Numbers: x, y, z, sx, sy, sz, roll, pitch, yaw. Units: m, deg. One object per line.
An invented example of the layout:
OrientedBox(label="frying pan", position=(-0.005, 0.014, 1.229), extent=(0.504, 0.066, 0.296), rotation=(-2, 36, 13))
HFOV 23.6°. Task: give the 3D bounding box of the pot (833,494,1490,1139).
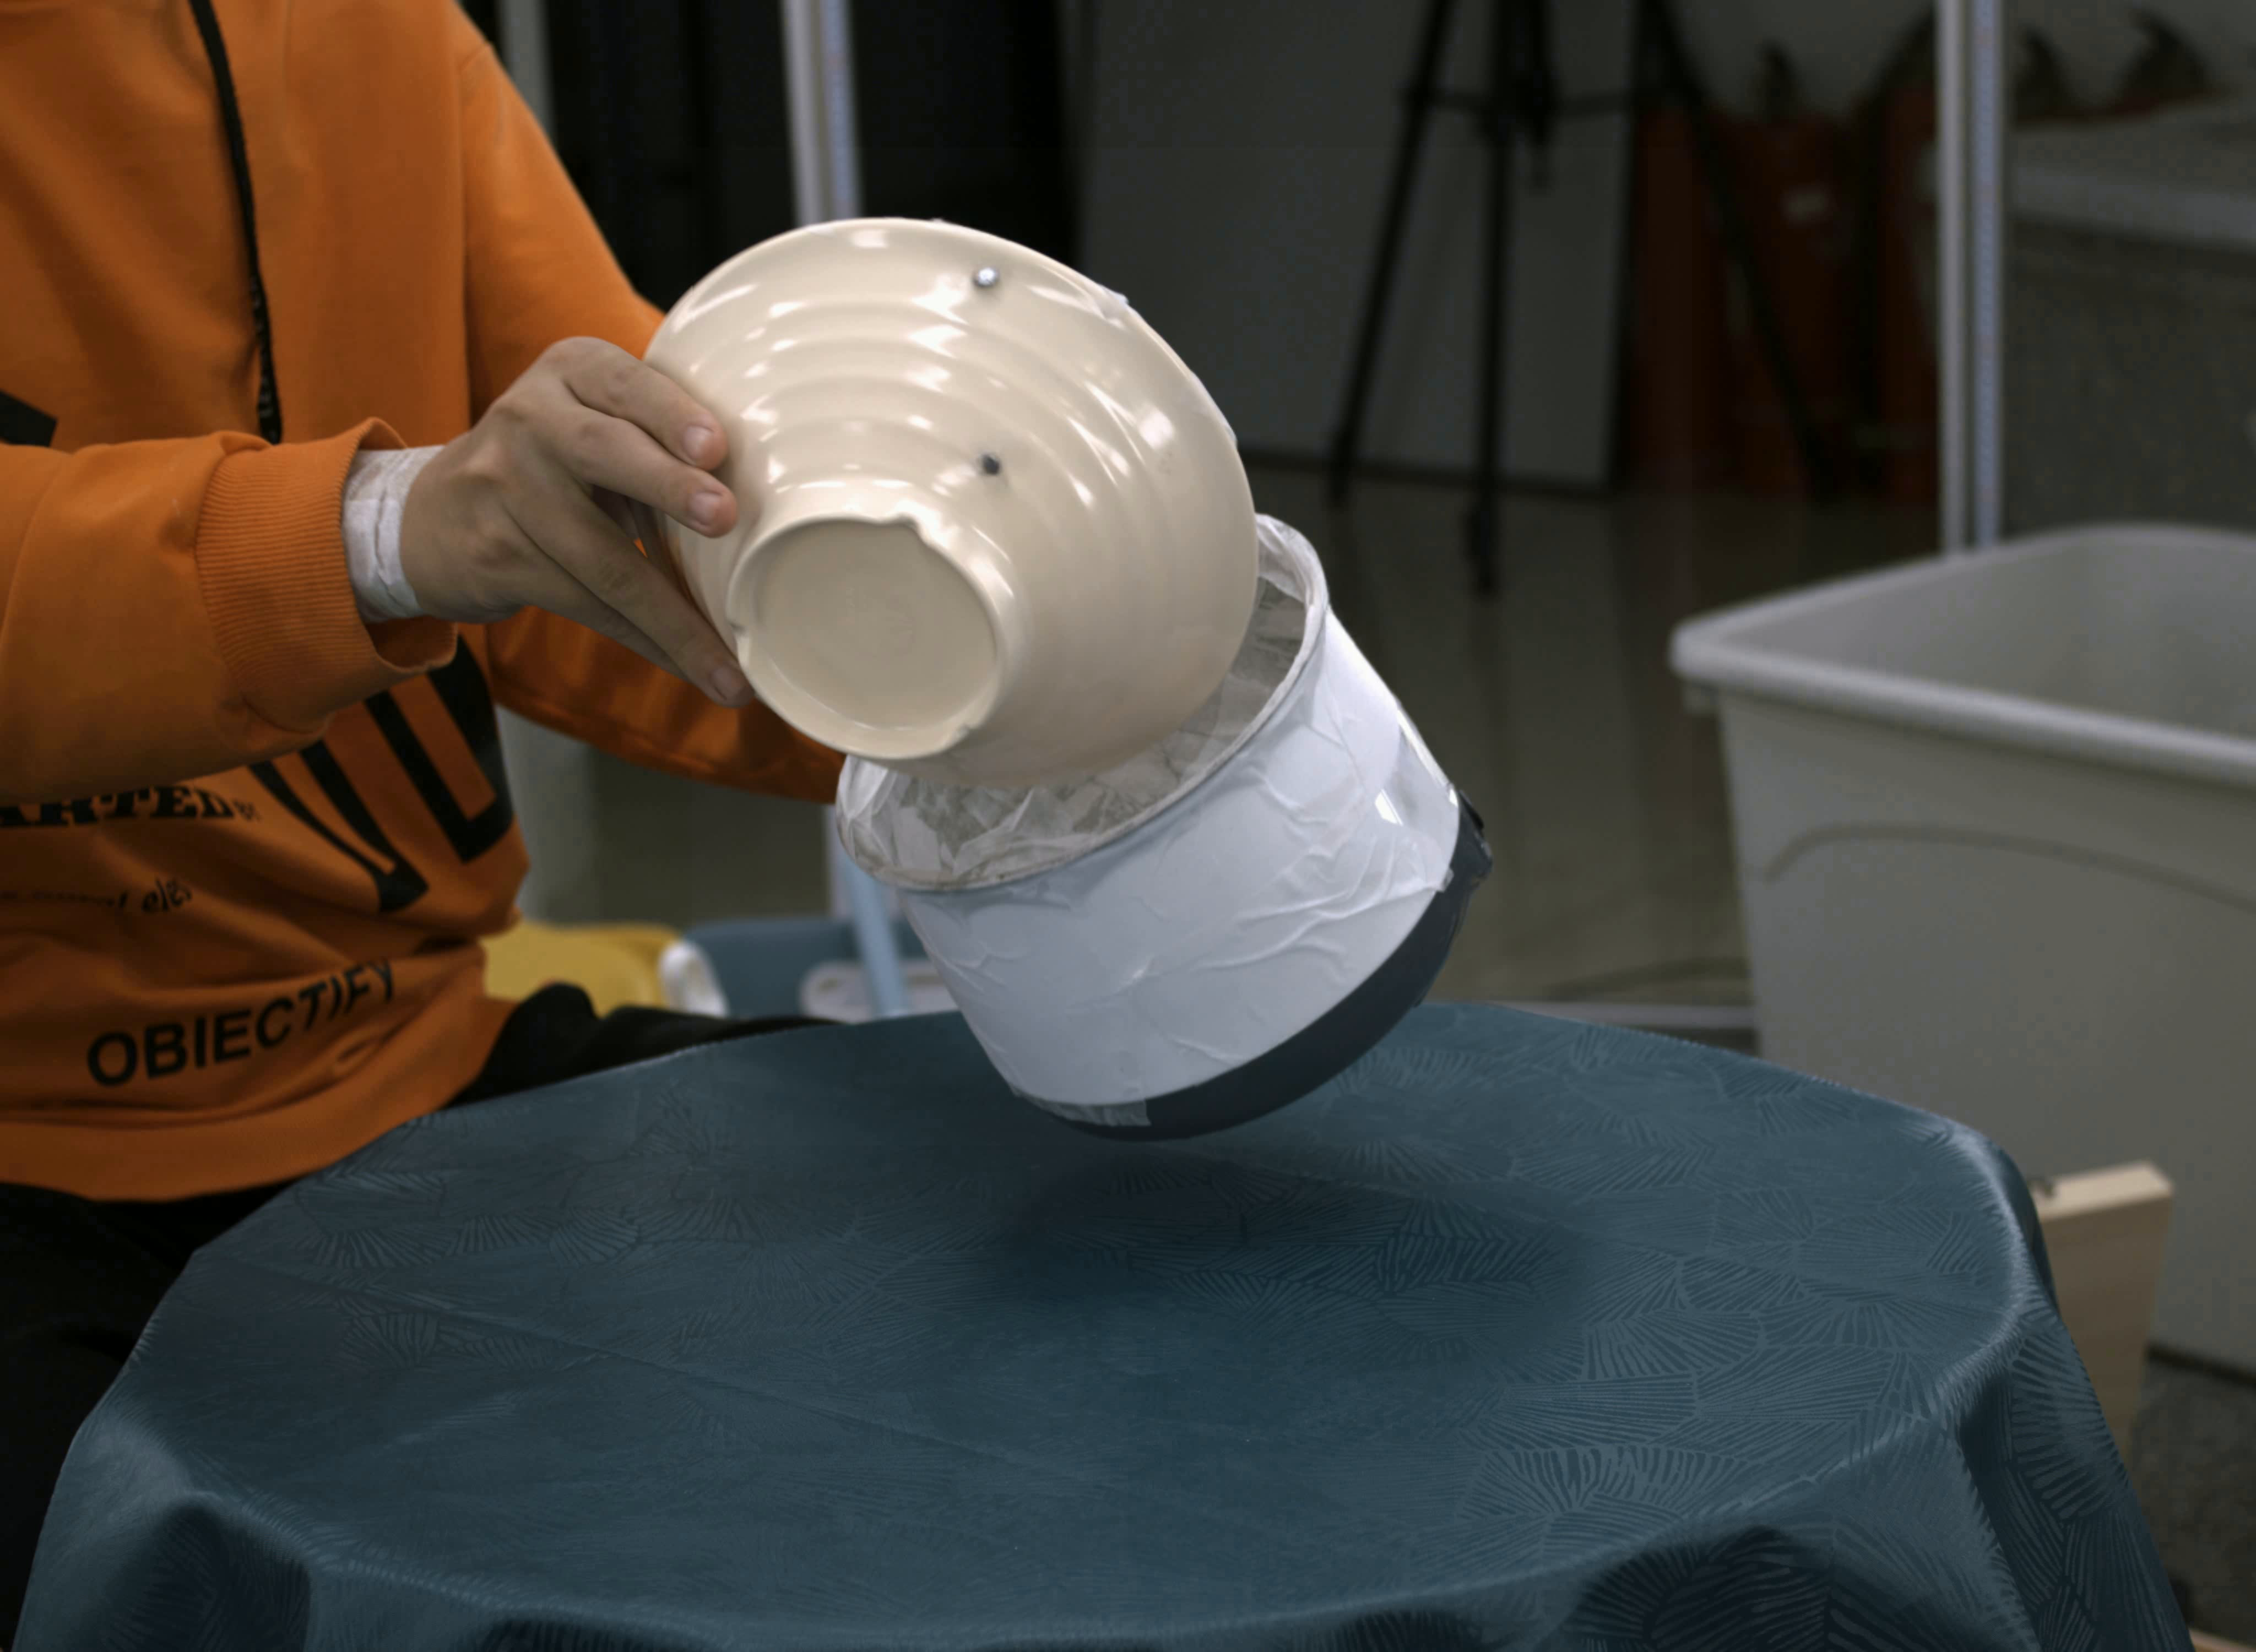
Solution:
OrientedBox(label="pot", position=(0.006, -0.011, 1.748), extent=(0.178, 0.136, 0.236), rotation=(-31, 30, 2))

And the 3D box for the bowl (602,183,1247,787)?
OrientedBox(label="bowl", position=(-0.069, -0.081, 1.607), extent=(0.203, 0.205, 0.078), rotation=(0, 32, 15))
